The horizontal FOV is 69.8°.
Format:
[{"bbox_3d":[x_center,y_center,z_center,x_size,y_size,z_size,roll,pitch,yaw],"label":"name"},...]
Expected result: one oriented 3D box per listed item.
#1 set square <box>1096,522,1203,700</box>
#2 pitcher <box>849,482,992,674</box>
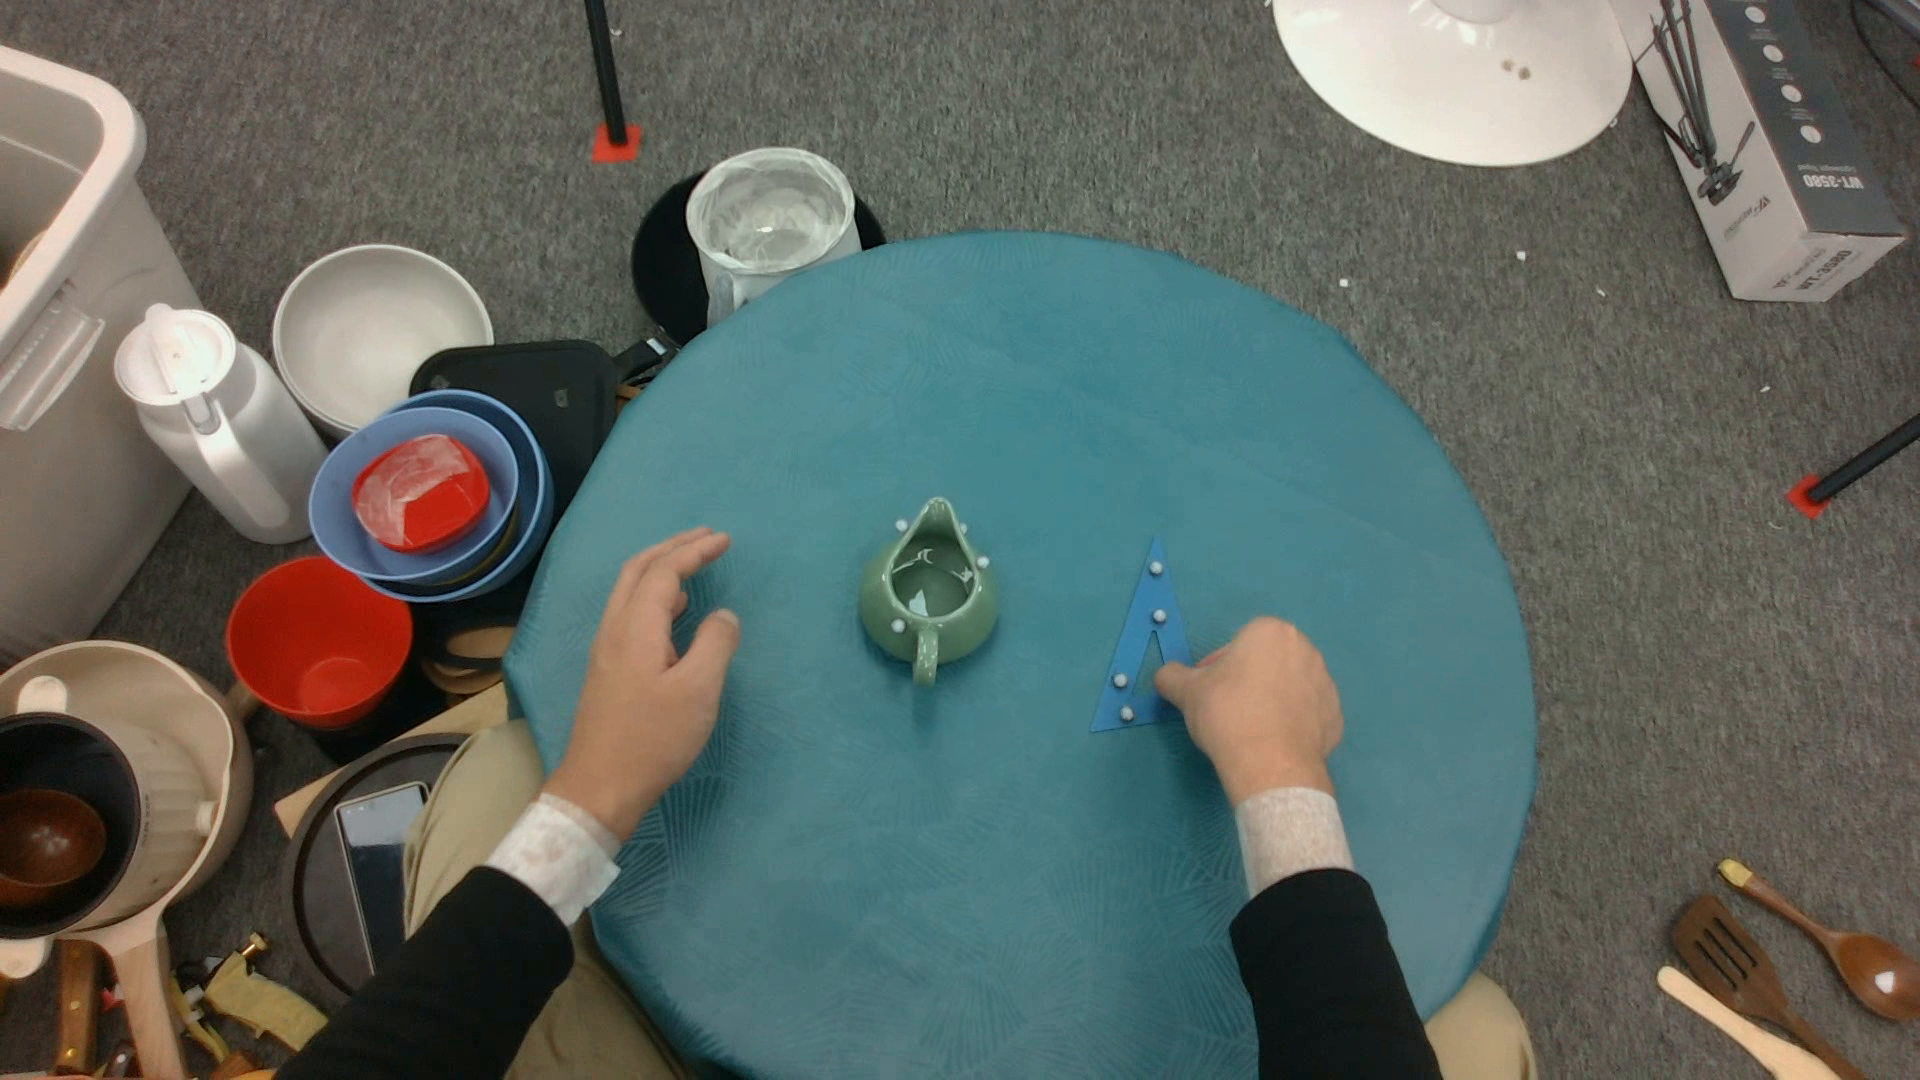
[{"bbox_3d":[0.131,0.050,0.834,0.061,0.006,0.132,23,64,6],"label":"set square"},{"bbox_3d":[-0.023,0.028,0.799,0.084,0.056,0.113,3,65,-2],"label":"pitcher"}]
